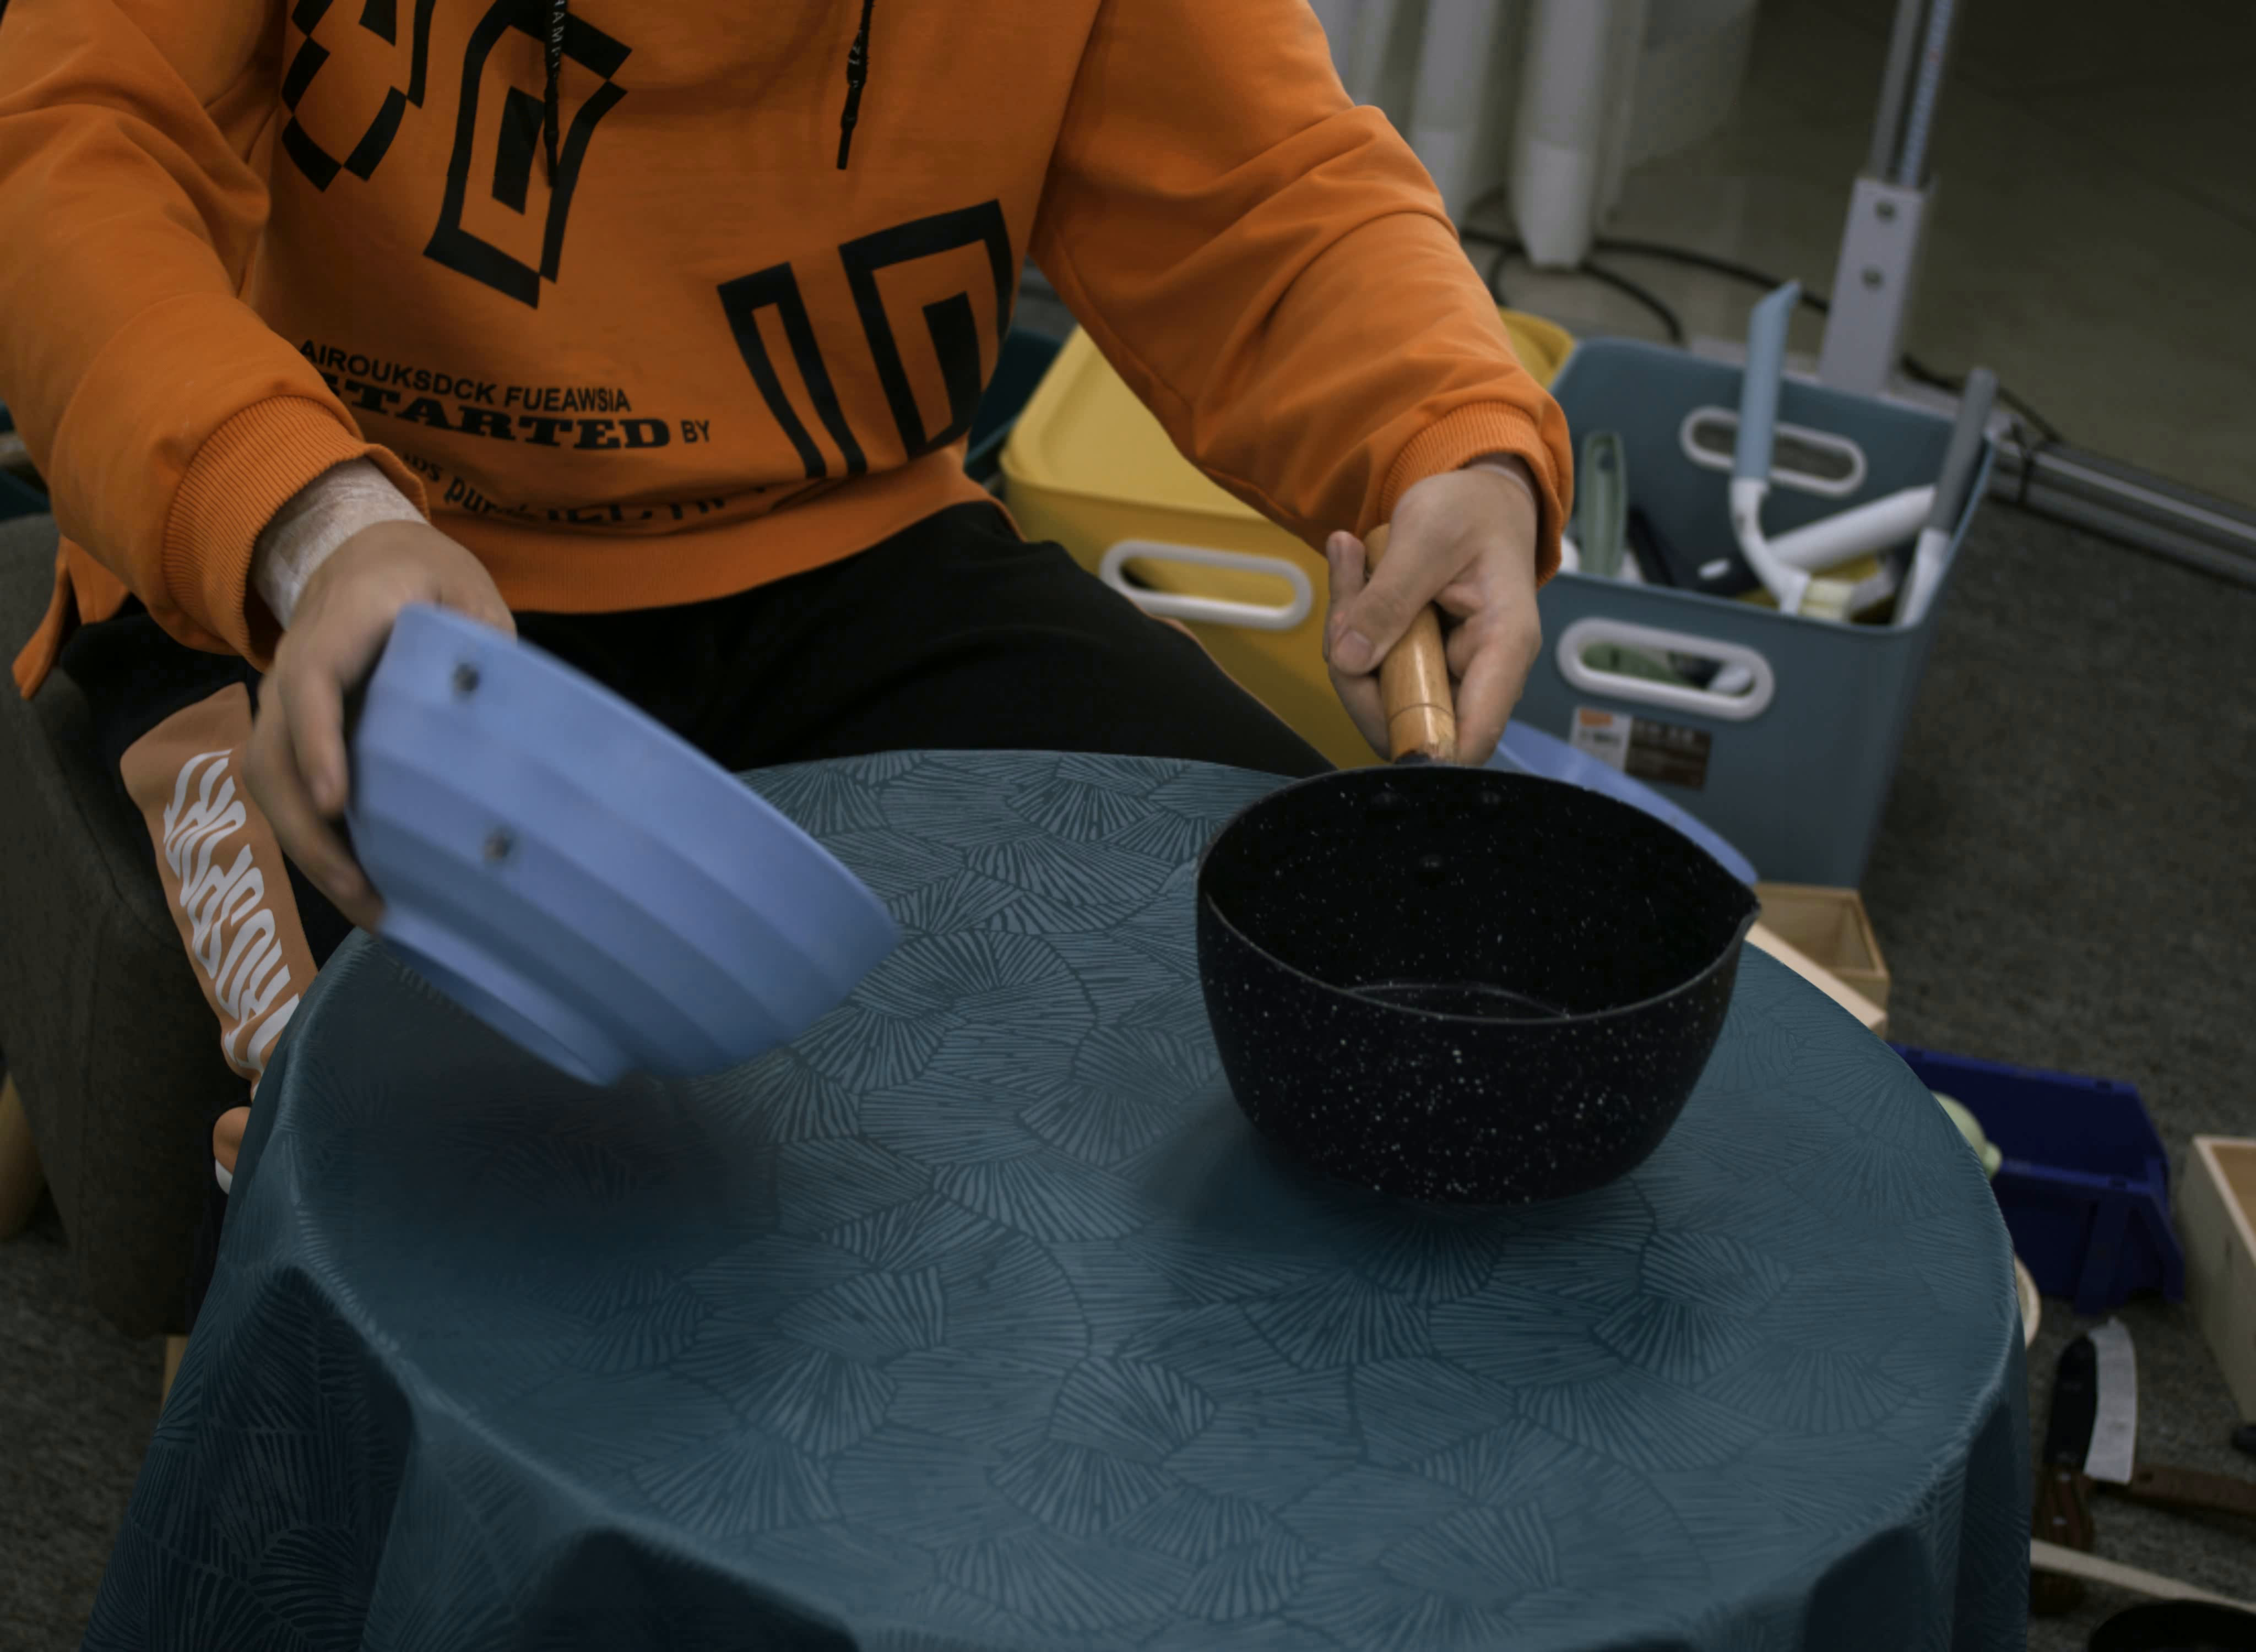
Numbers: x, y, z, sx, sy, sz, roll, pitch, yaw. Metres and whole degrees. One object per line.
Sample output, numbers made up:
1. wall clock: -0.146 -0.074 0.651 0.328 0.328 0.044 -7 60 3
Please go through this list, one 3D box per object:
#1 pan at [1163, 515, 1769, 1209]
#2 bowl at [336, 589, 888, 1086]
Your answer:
1. pan: 0.108 0.009 1.891 0.206 0.108 0.345 0 29 -5
2. bowl: -0.184 0.020 1.730 0.198 0.195 0.095 27 74 34
